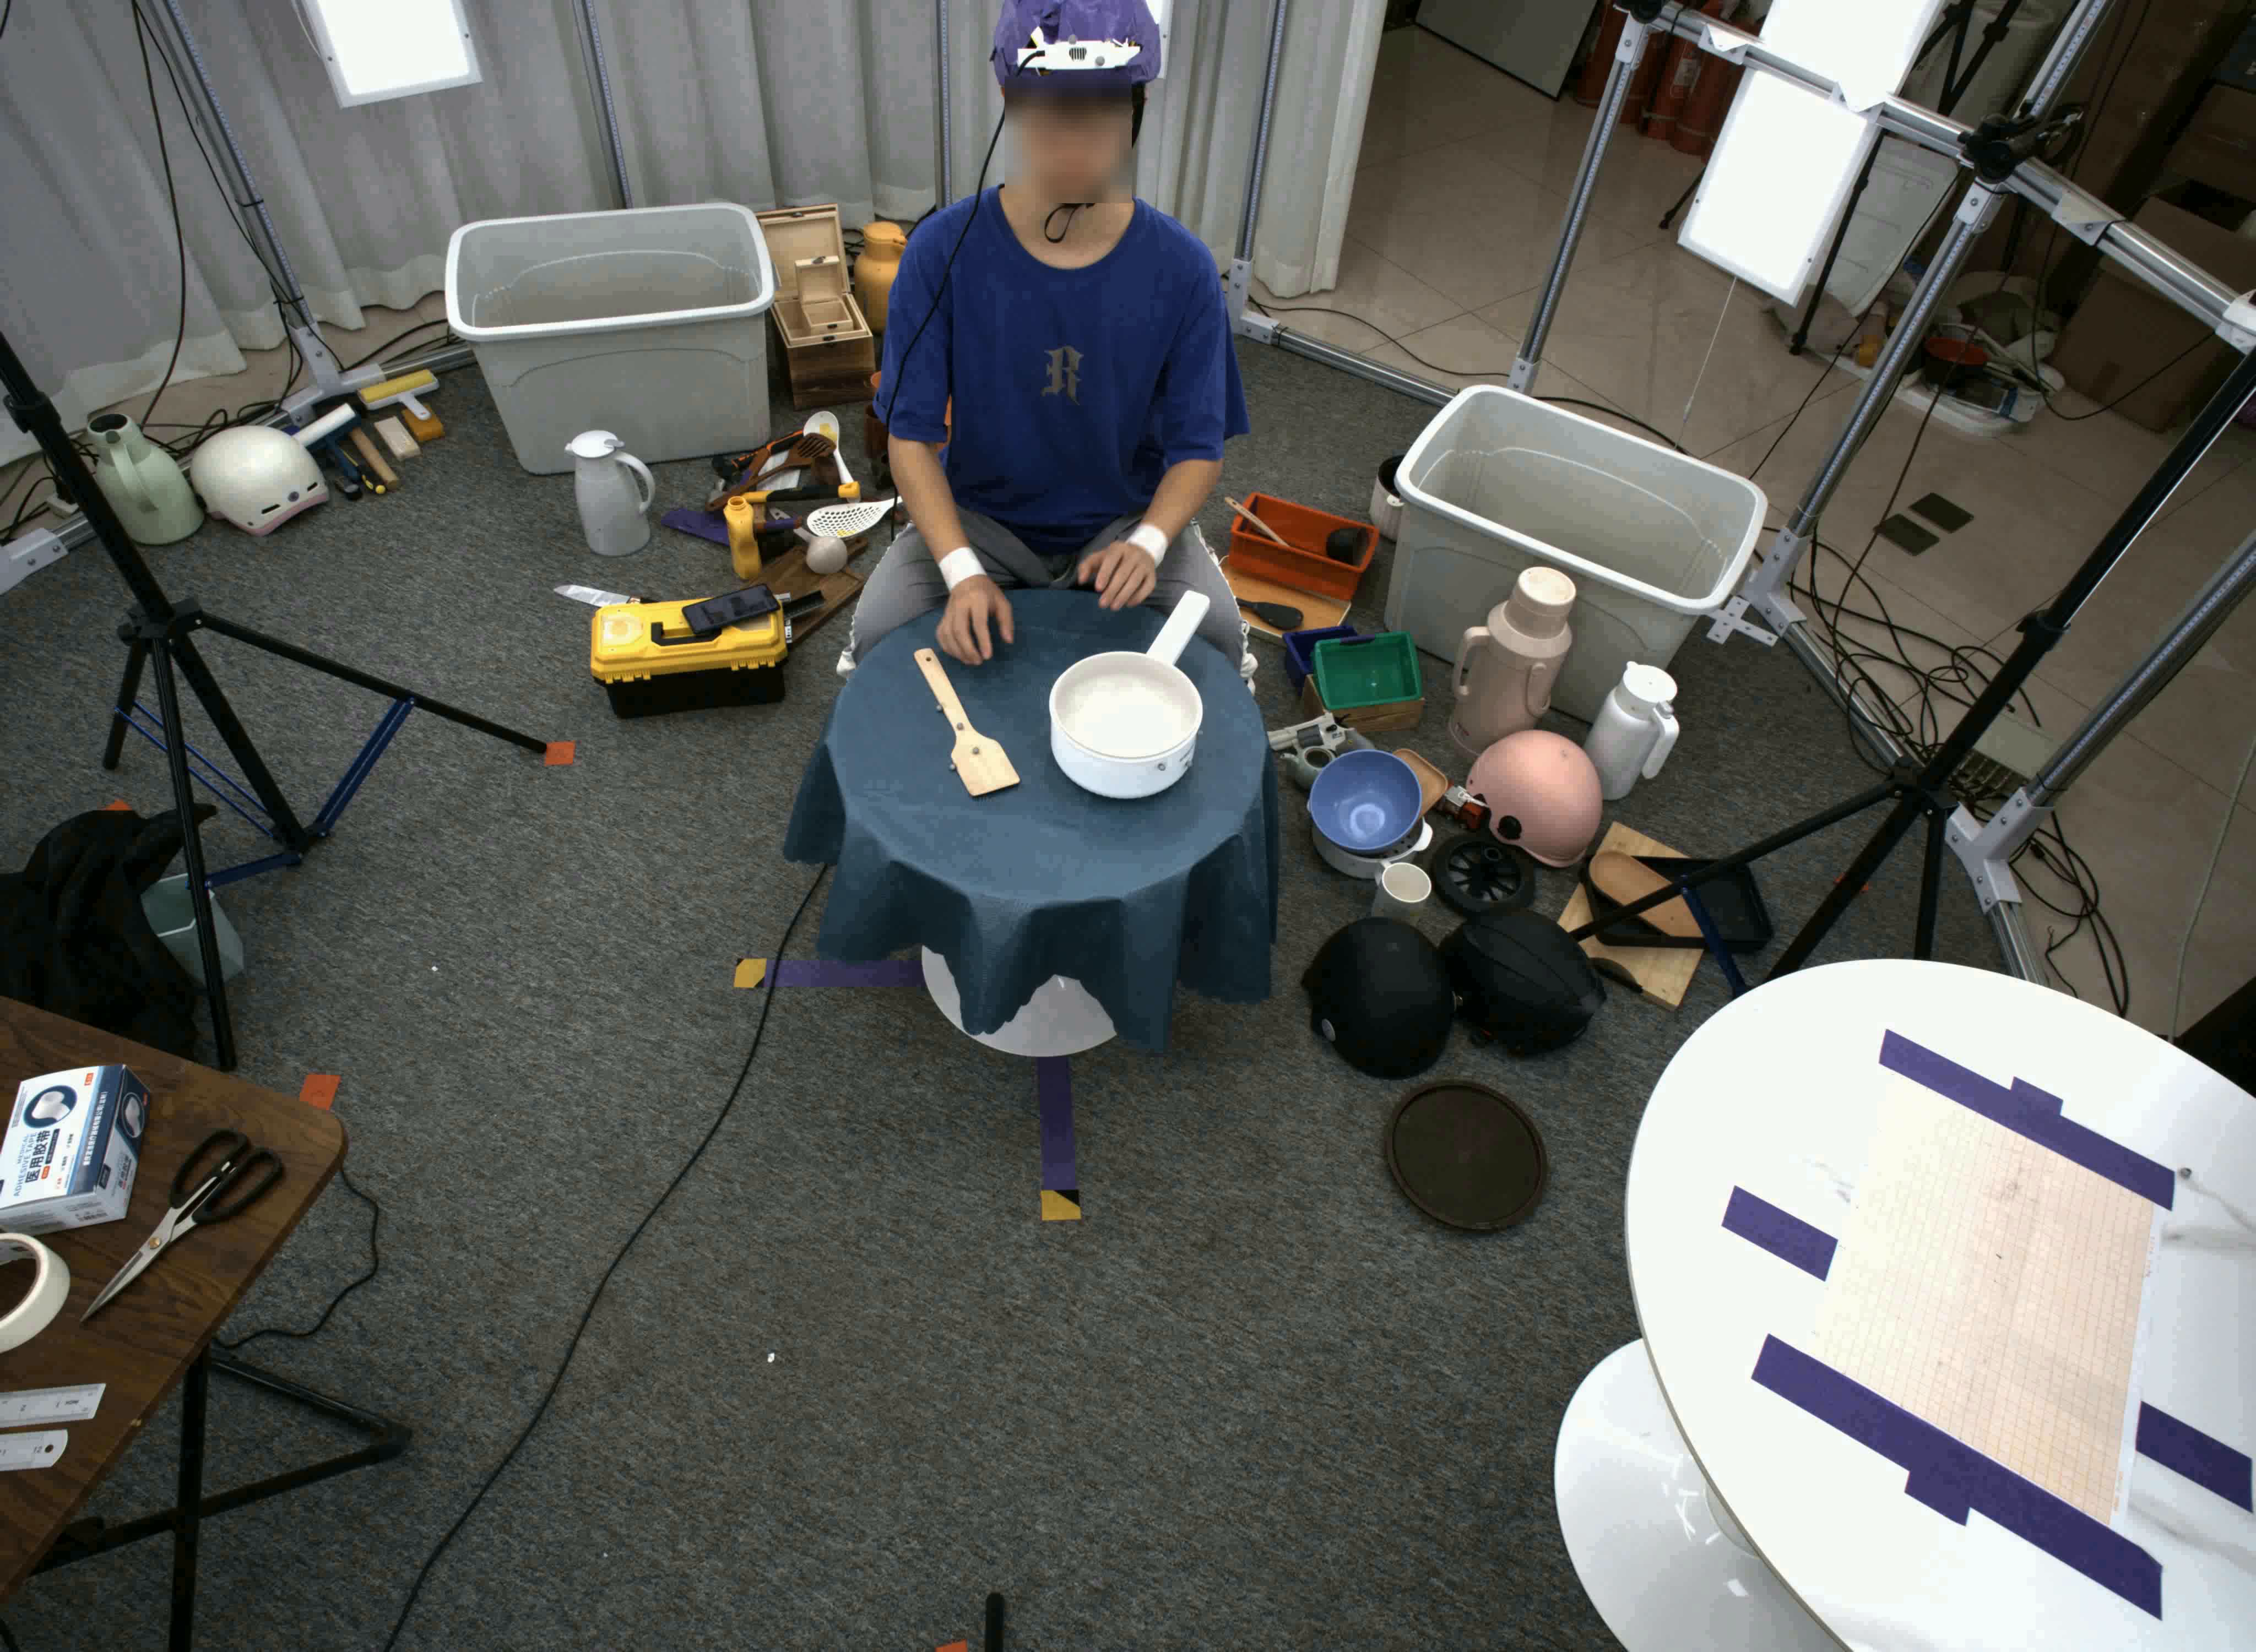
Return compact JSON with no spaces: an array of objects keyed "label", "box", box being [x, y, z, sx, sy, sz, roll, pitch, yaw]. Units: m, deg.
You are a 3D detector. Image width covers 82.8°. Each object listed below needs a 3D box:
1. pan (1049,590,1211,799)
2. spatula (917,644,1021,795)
[{"label":"pan","box":[0.027,-0.184,1.771,0.202,0.099,0.361,19,51,15]},{"label":"spatula","box":[-0.235,-0.155,1.785,0.072,0.010,0.299,-18,54,-17]}]
